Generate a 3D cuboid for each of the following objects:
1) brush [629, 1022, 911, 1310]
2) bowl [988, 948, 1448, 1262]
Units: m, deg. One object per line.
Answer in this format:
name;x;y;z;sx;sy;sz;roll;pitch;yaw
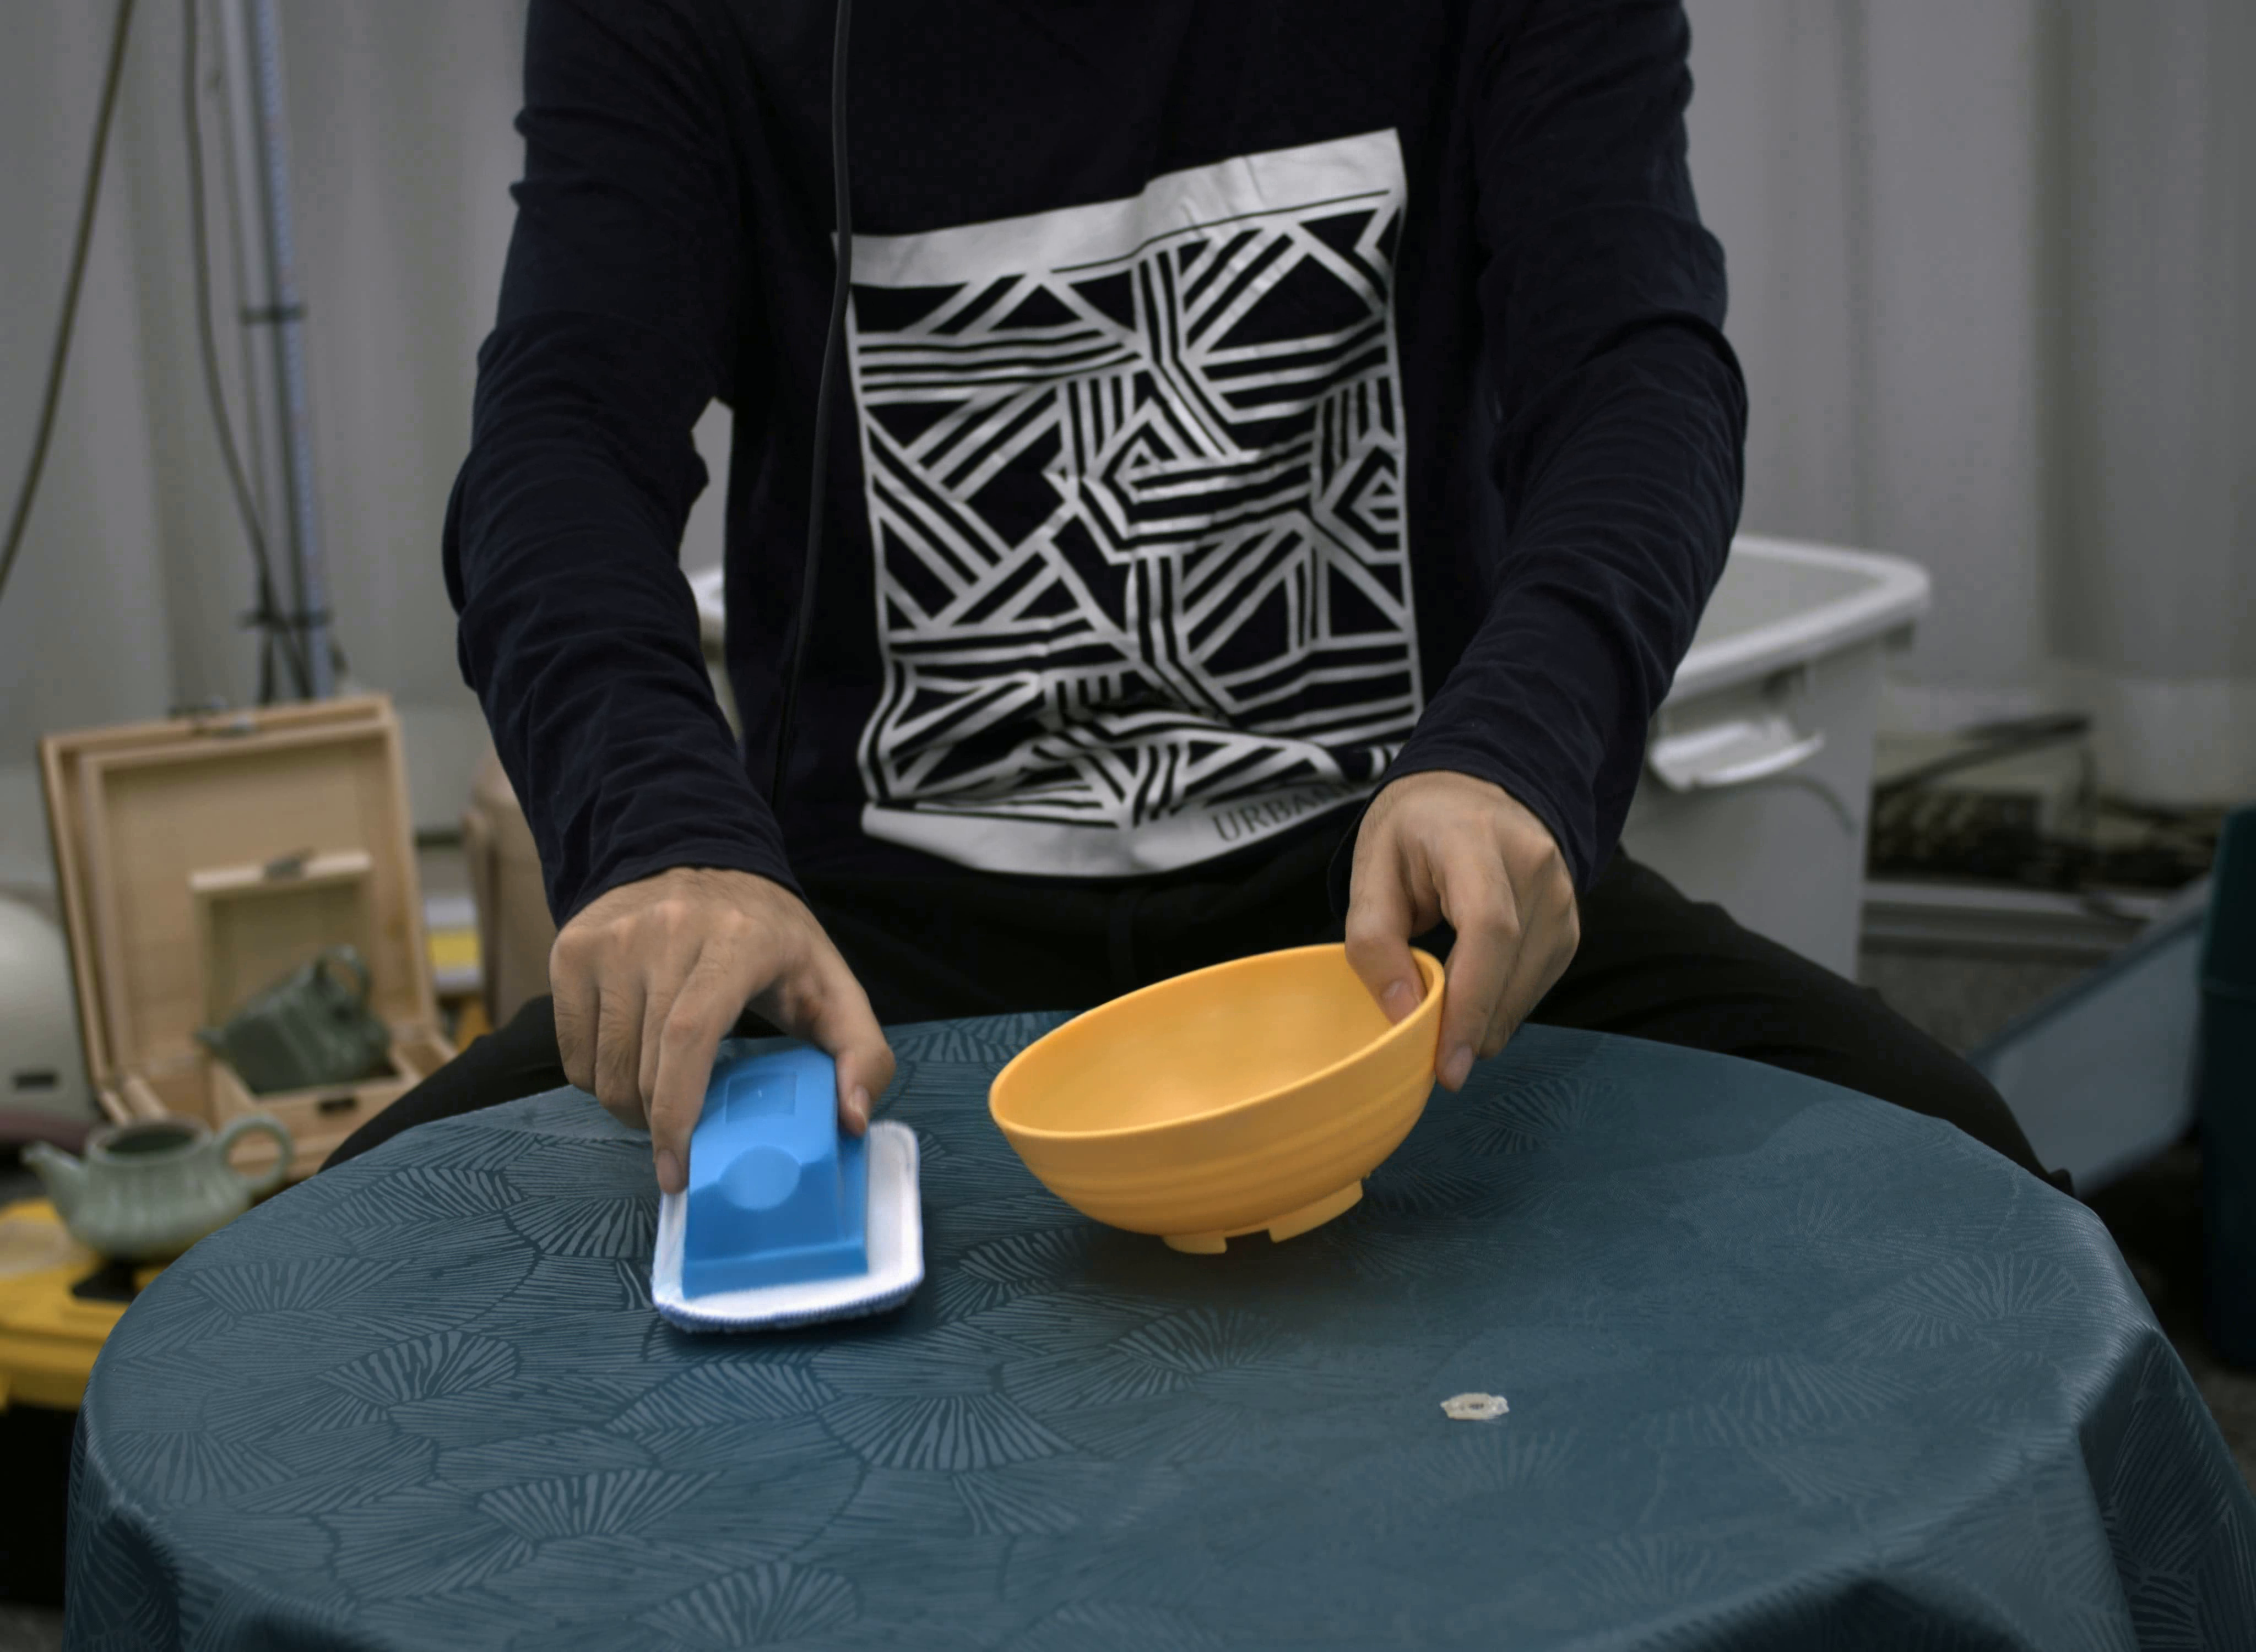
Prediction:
brush;-0.109;0.100;1.658;0.083;0.055;0.145;-2;19;-1
bowl;0.034;0.092;1.660;0.145;0.060;0.146;-13;16;4
